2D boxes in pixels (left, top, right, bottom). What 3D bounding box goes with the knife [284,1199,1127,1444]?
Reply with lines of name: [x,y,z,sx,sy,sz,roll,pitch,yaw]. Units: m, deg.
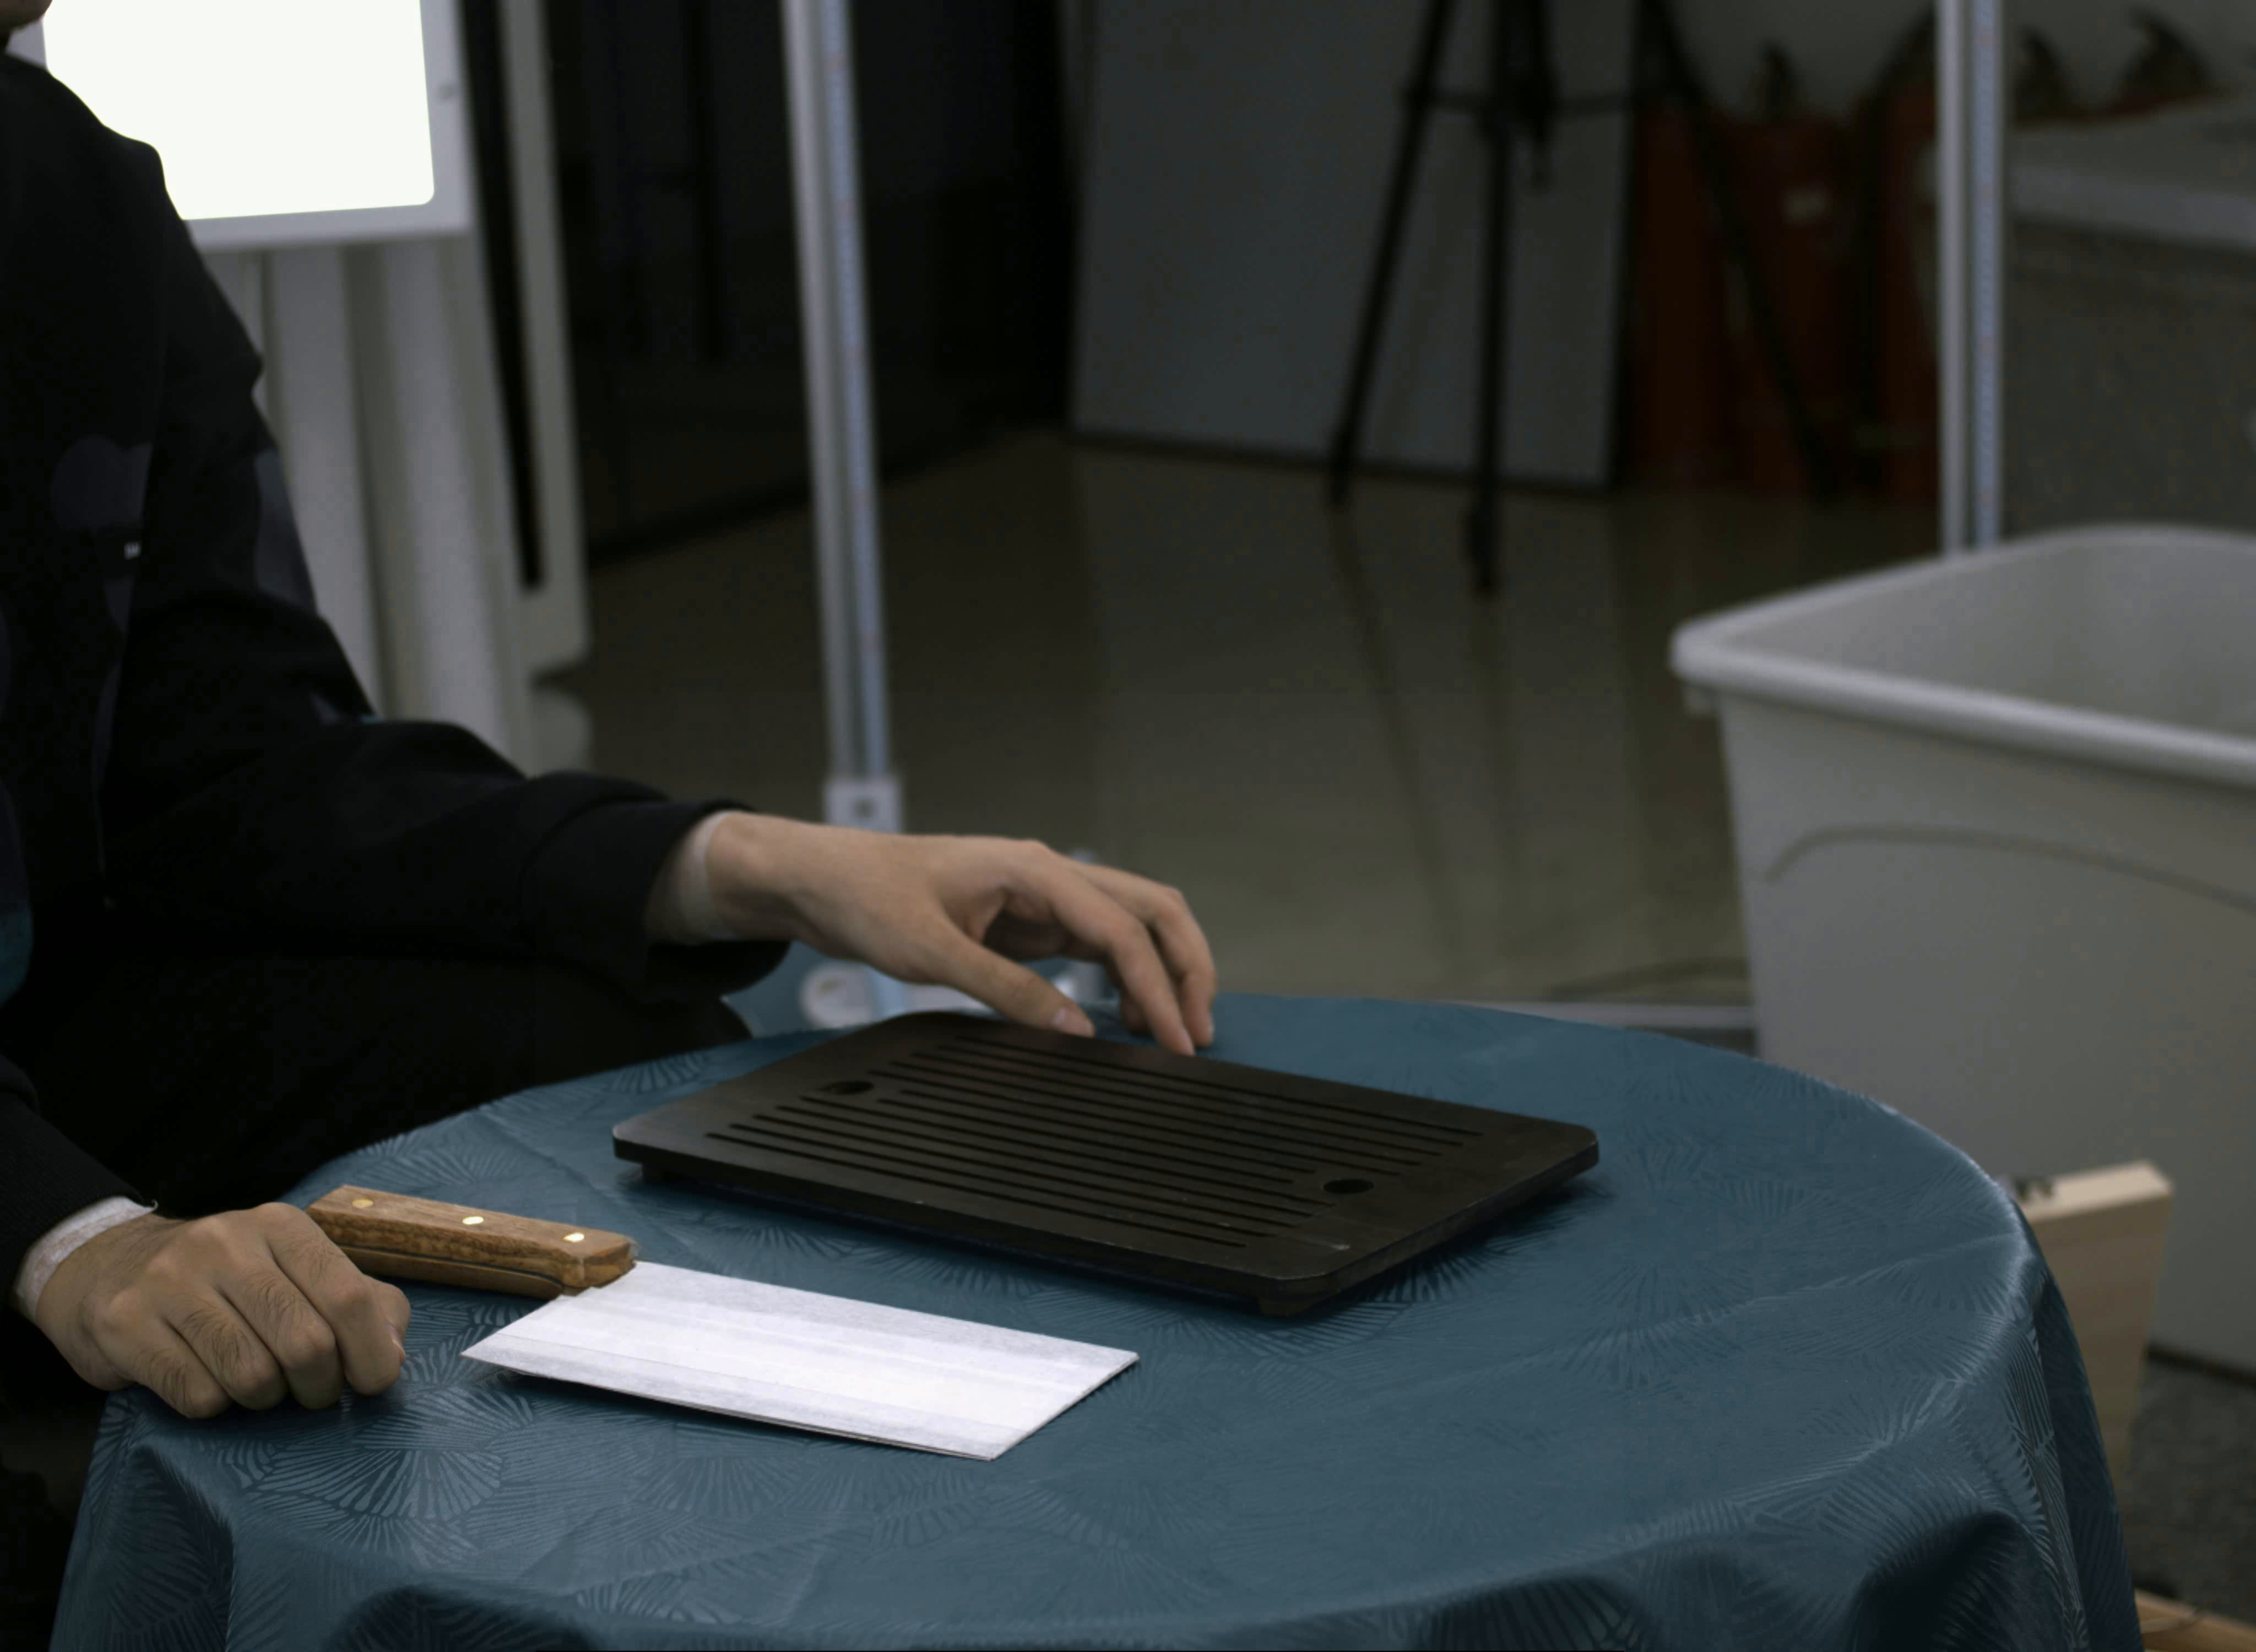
knife: [-0.147,0.154,1.651,0.307,0.021,0.091,7,19,31]

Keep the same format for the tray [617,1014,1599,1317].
tray: [-0.009,0.109,1.784,0.308,0.019,0.167,8,19,40]
